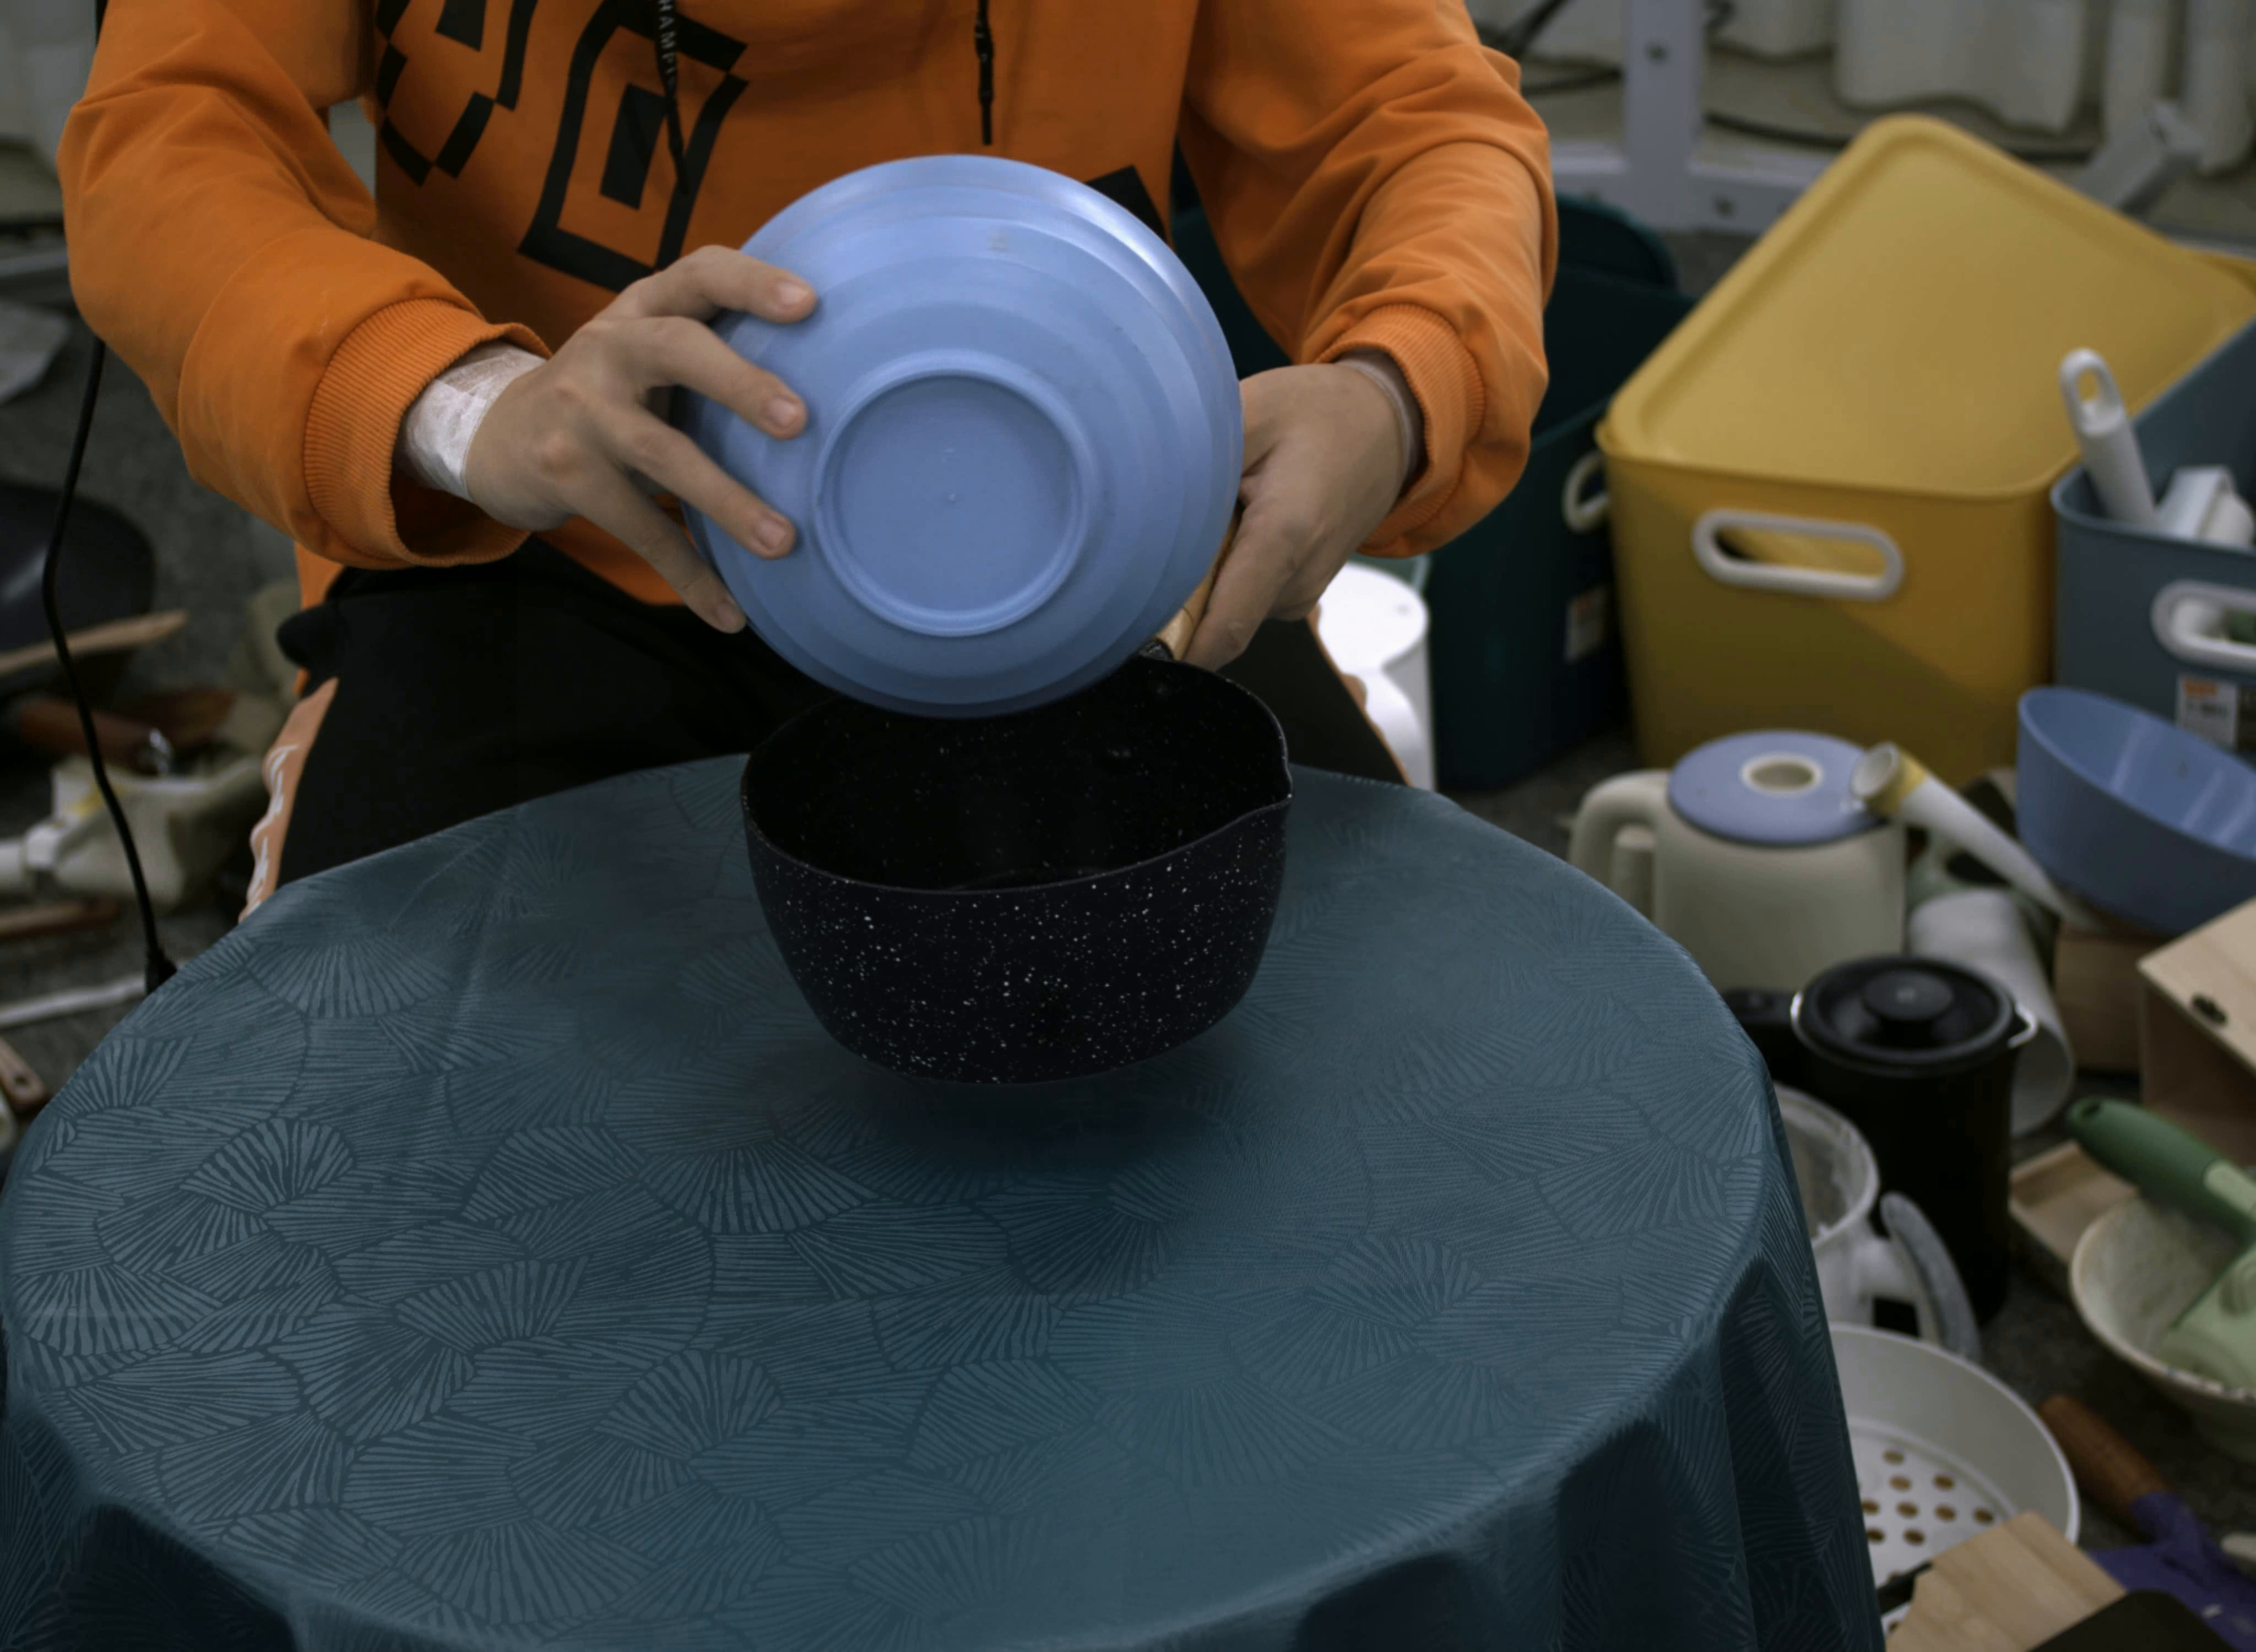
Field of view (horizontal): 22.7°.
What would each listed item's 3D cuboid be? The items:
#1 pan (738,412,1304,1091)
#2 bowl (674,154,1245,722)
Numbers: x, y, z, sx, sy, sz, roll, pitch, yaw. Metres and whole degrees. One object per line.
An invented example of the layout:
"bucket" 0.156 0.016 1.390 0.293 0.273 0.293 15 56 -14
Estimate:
"pan" -0.009 -0.029 1.965 0.206 0.107 0.349 4 28 20
"bowl" -0.056 -0.119 1.884 0.195 0.195 0.096 -3 15 -1
